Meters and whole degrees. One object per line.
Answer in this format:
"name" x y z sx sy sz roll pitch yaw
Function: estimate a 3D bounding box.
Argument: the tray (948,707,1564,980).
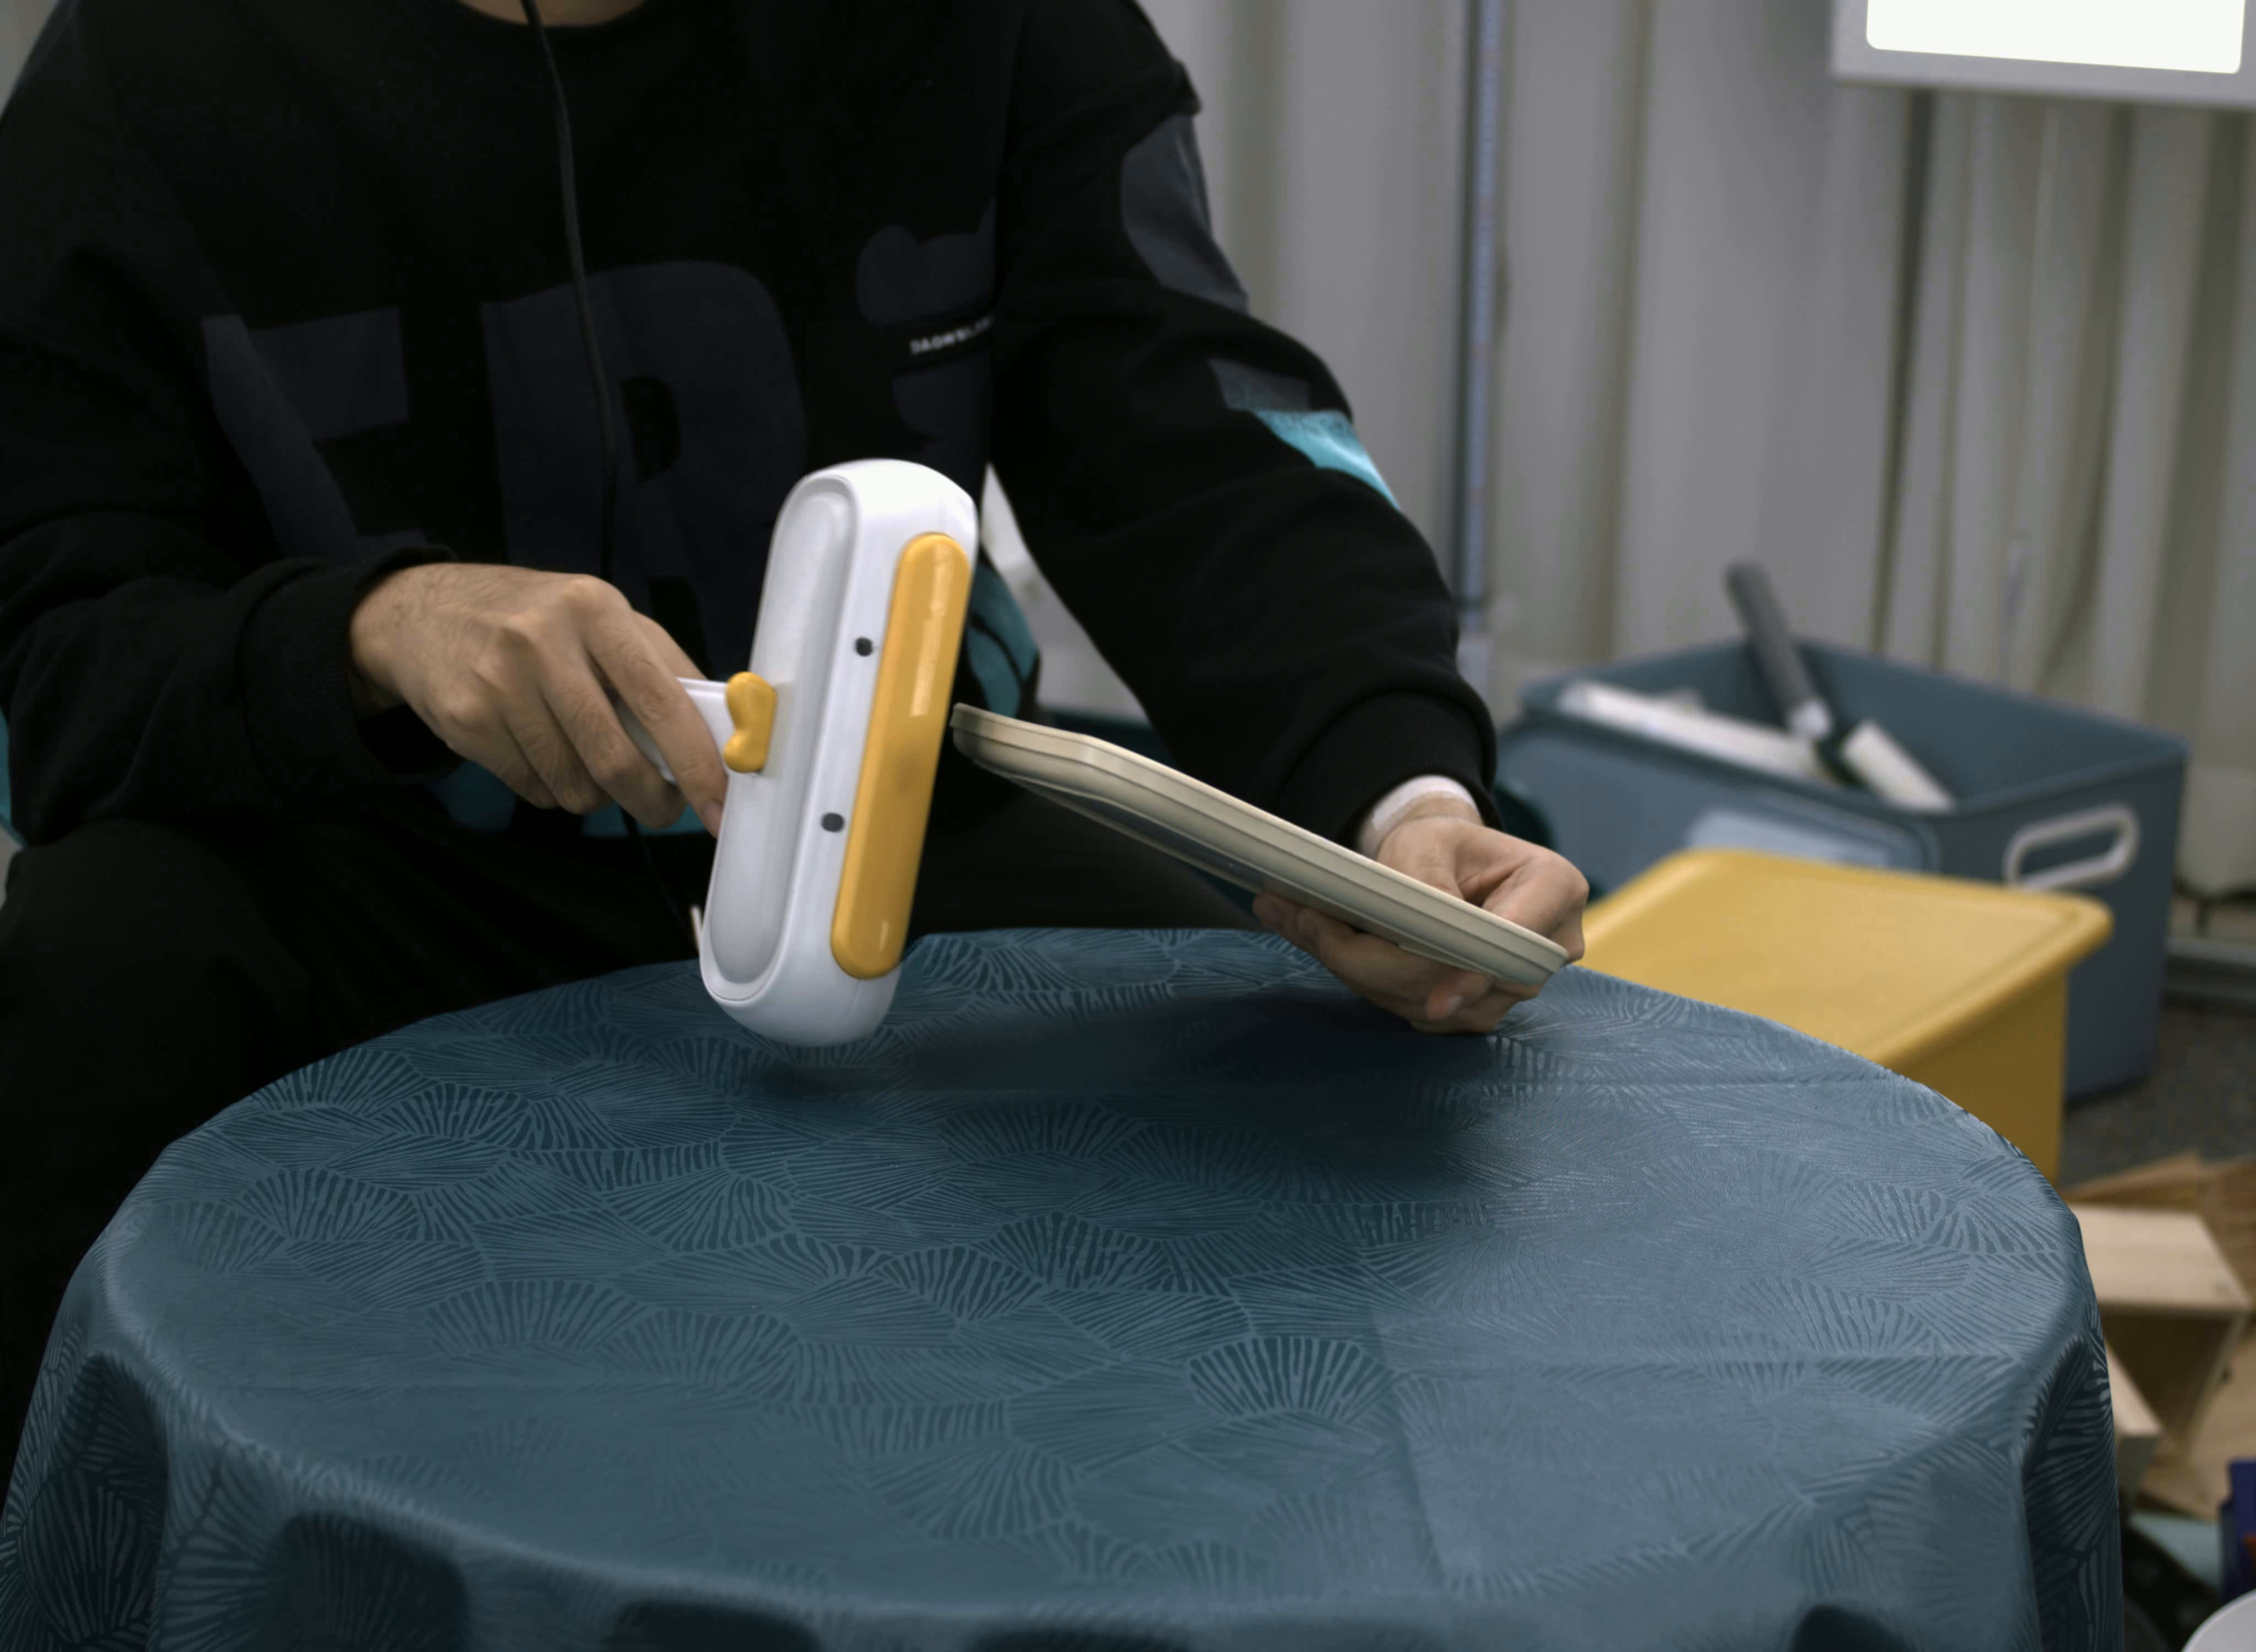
"tray" 0.035 0.006 1.690 0.172 0.017 0.238 24 -3 -14

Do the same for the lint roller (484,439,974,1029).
"lint roller" -0.136 -0.031 1.747 0.075 0.193 0.190 8 -5 -43
